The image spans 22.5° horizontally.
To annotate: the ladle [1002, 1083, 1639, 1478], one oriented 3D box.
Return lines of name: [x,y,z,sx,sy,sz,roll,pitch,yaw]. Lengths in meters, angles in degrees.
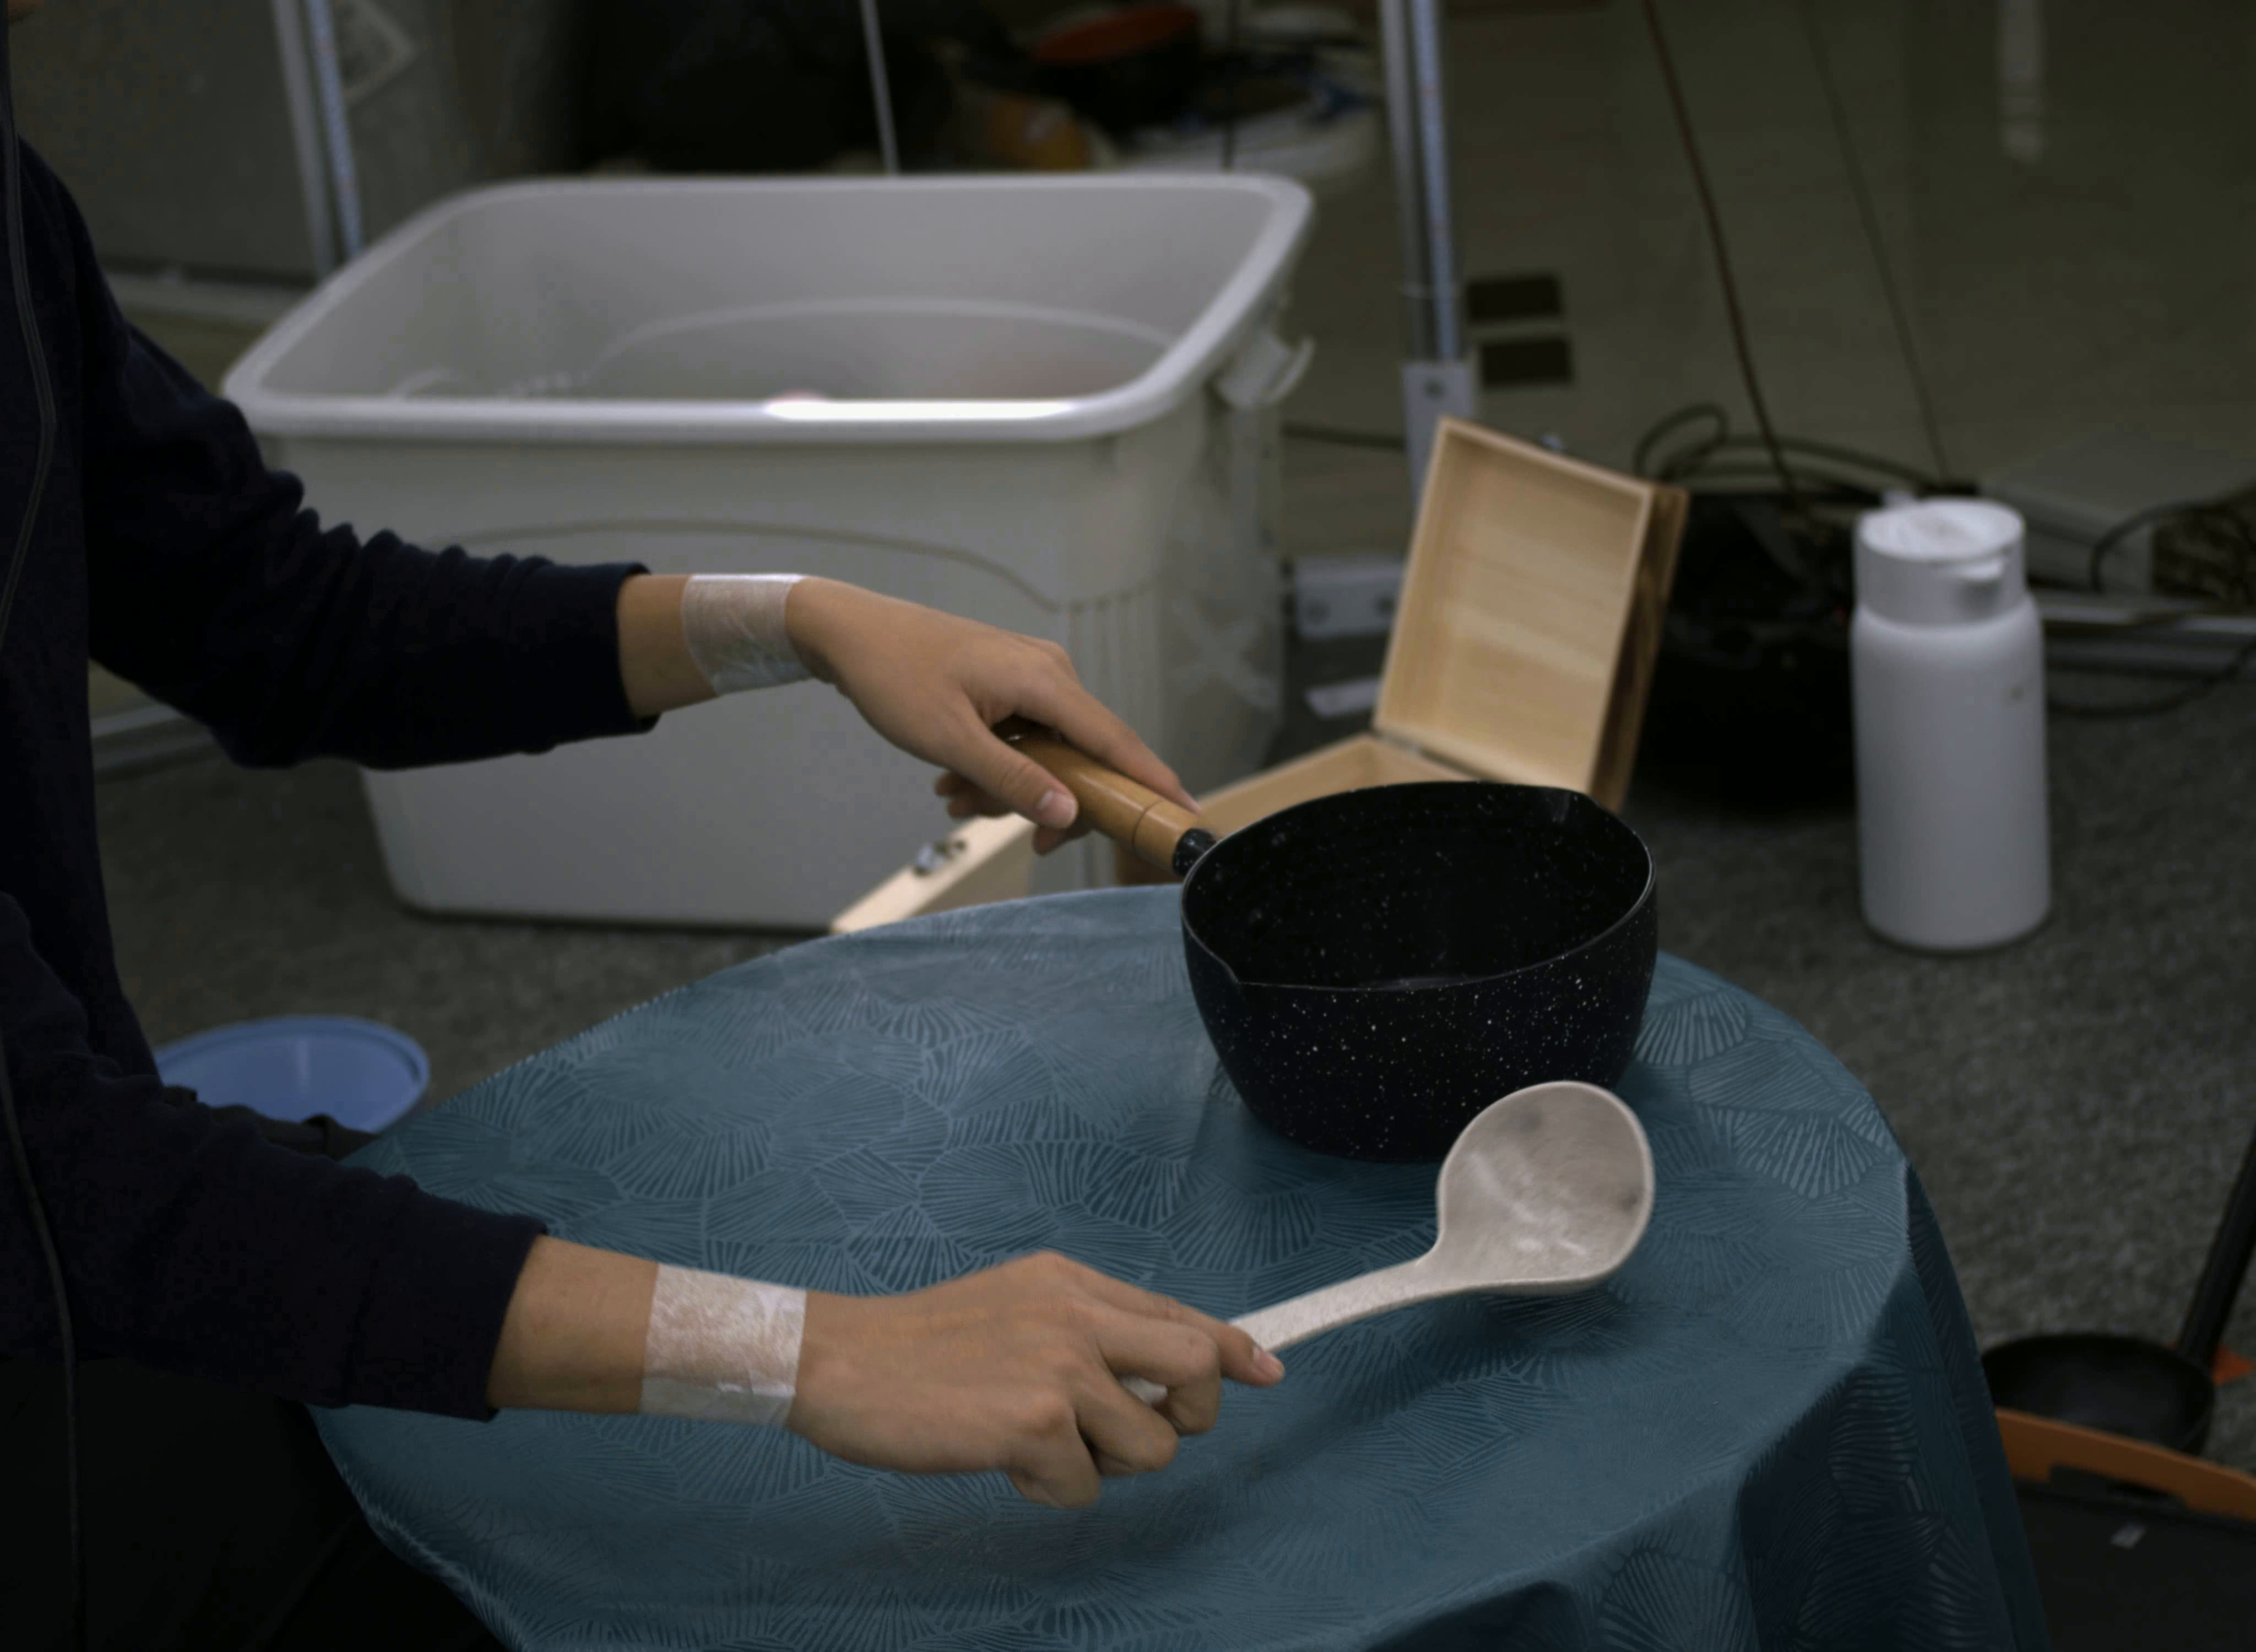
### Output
ladle: [0.065,0.155,1.967,0.273,0.070,0.088,-16,32,-38]

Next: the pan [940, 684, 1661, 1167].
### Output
pan: [0.055,0.031,2.234,0.340,0.110,0.205,17,35,39]
